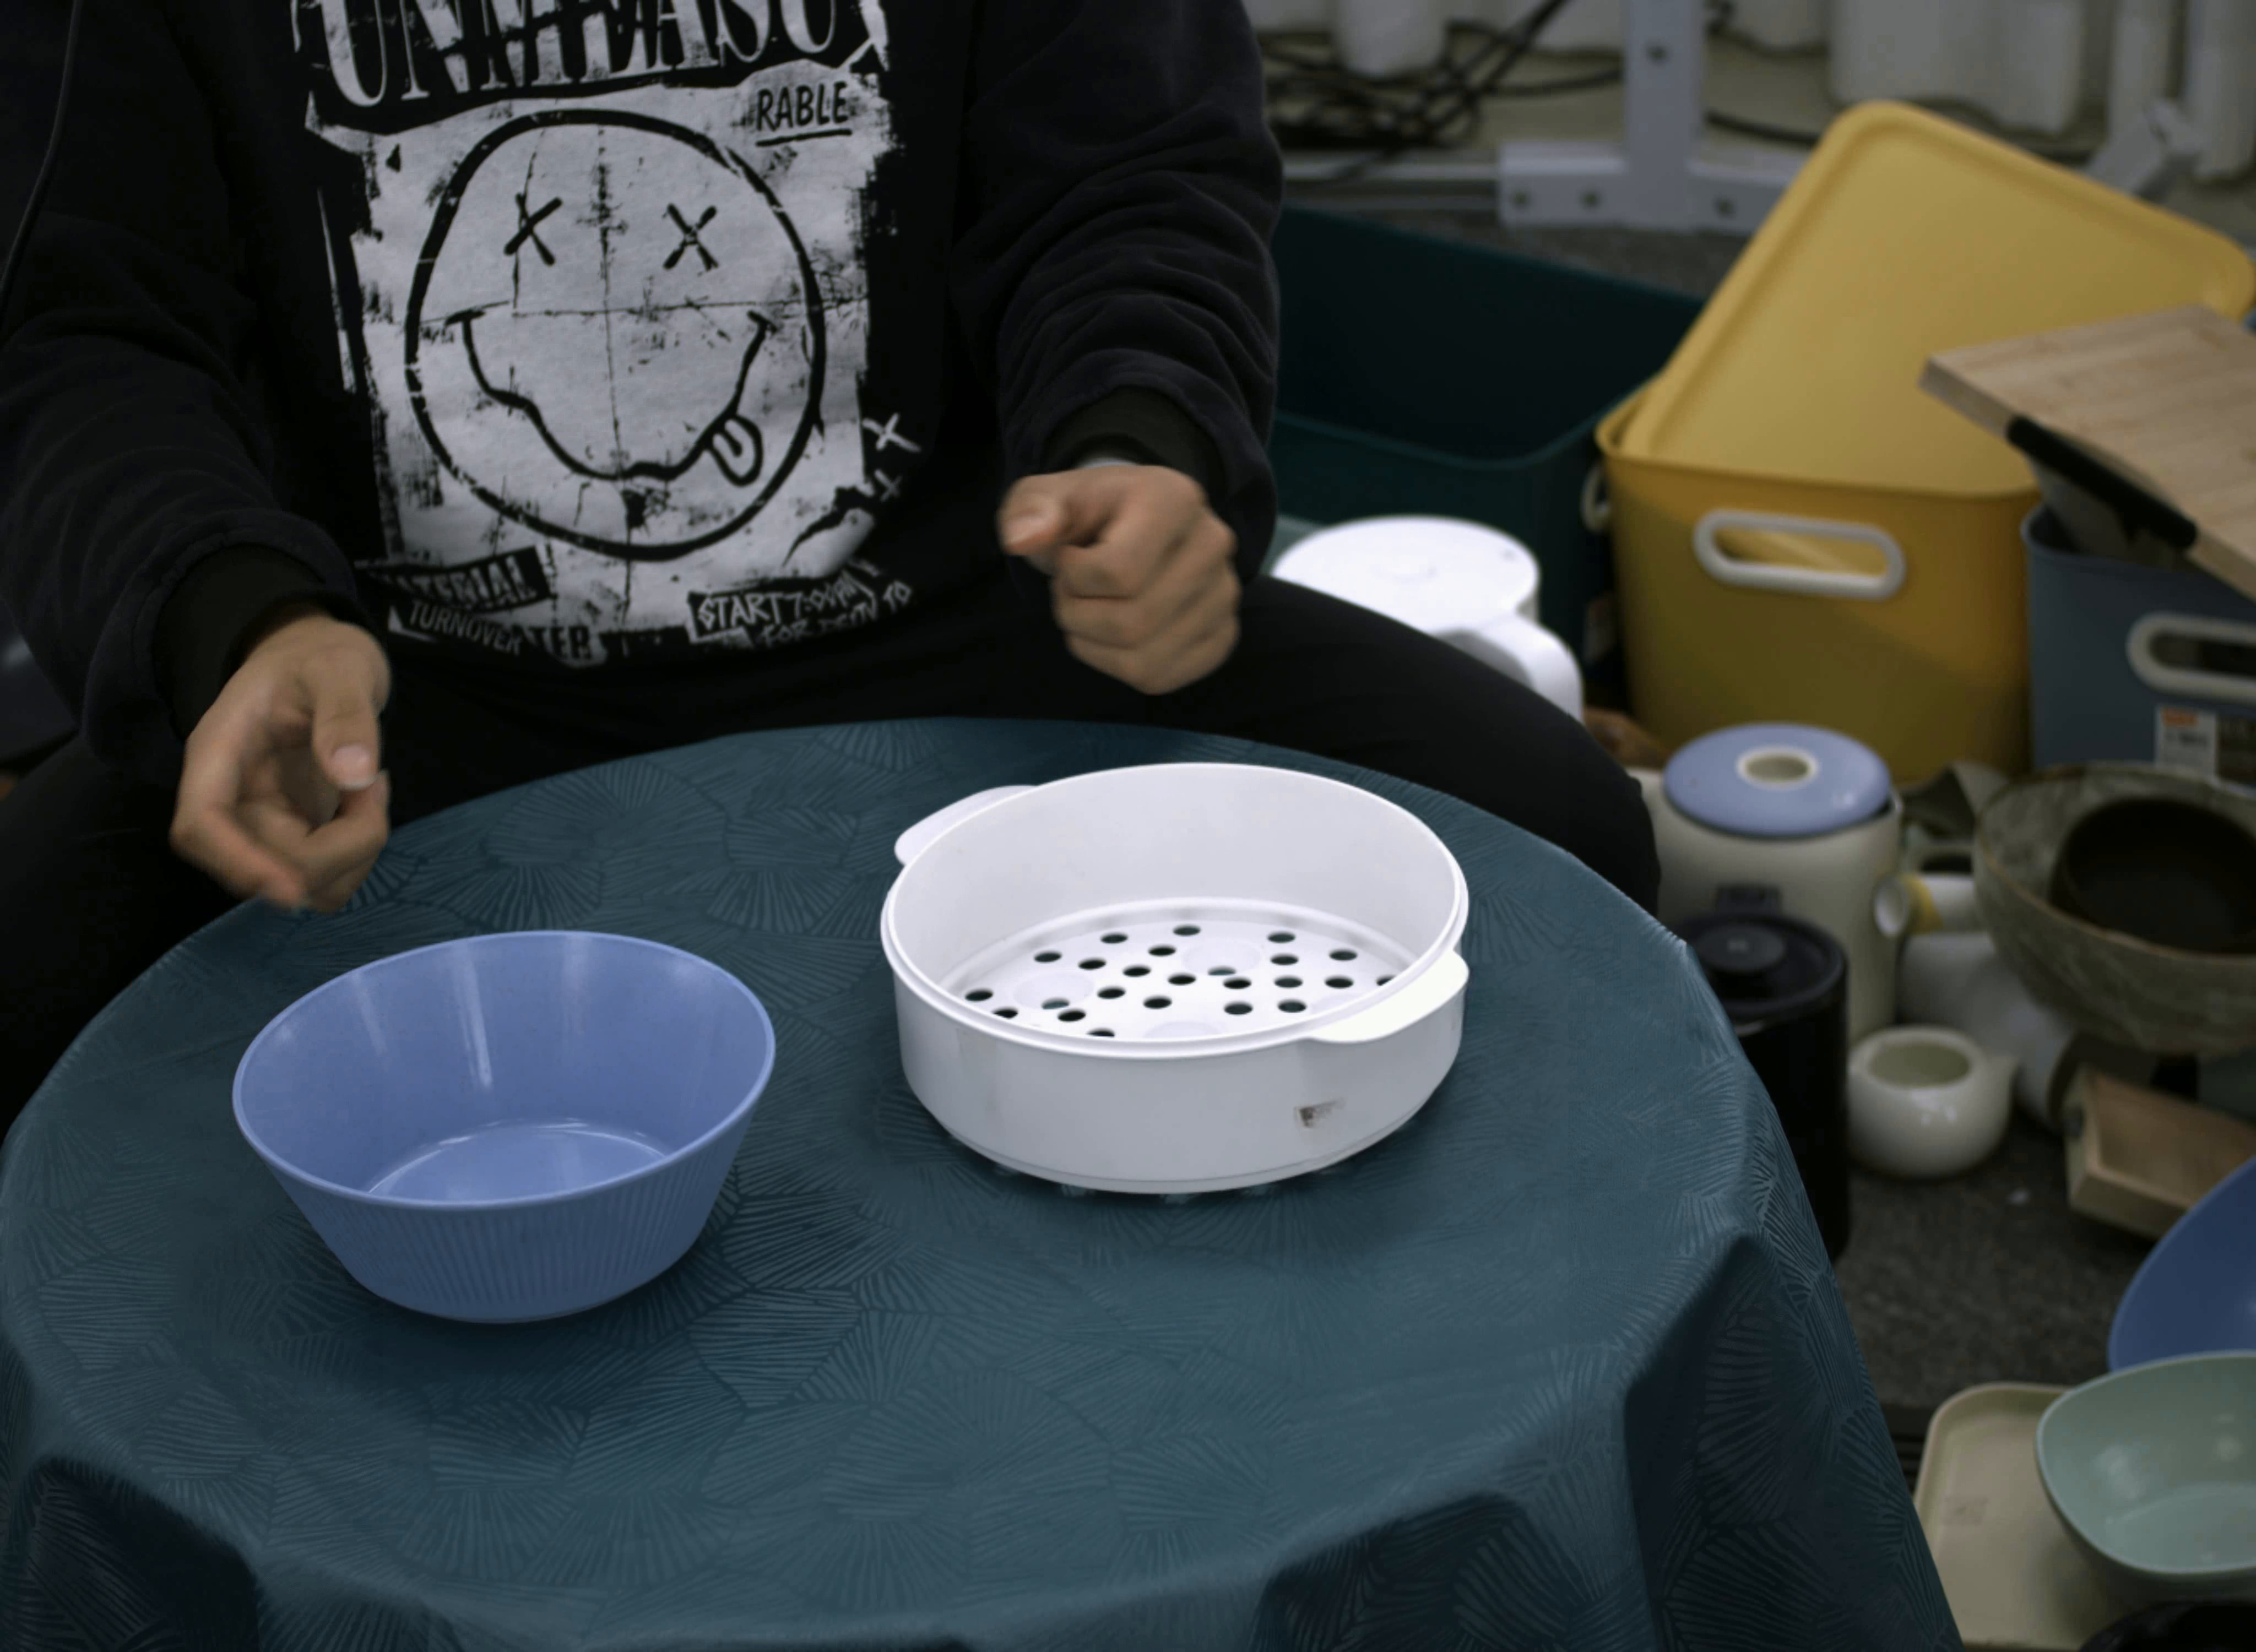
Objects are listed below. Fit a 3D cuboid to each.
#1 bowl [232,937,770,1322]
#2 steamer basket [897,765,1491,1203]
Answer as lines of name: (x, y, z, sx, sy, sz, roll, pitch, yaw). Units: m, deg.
bowl: (-0.202, 0.106, 1.836, 0.175, 0.069, 0.179, -1, 27, 1)
steamer basket: (0.022, 0.054, 1.916, 0.230, 0.068, 0.204, 23, 37, 37)
